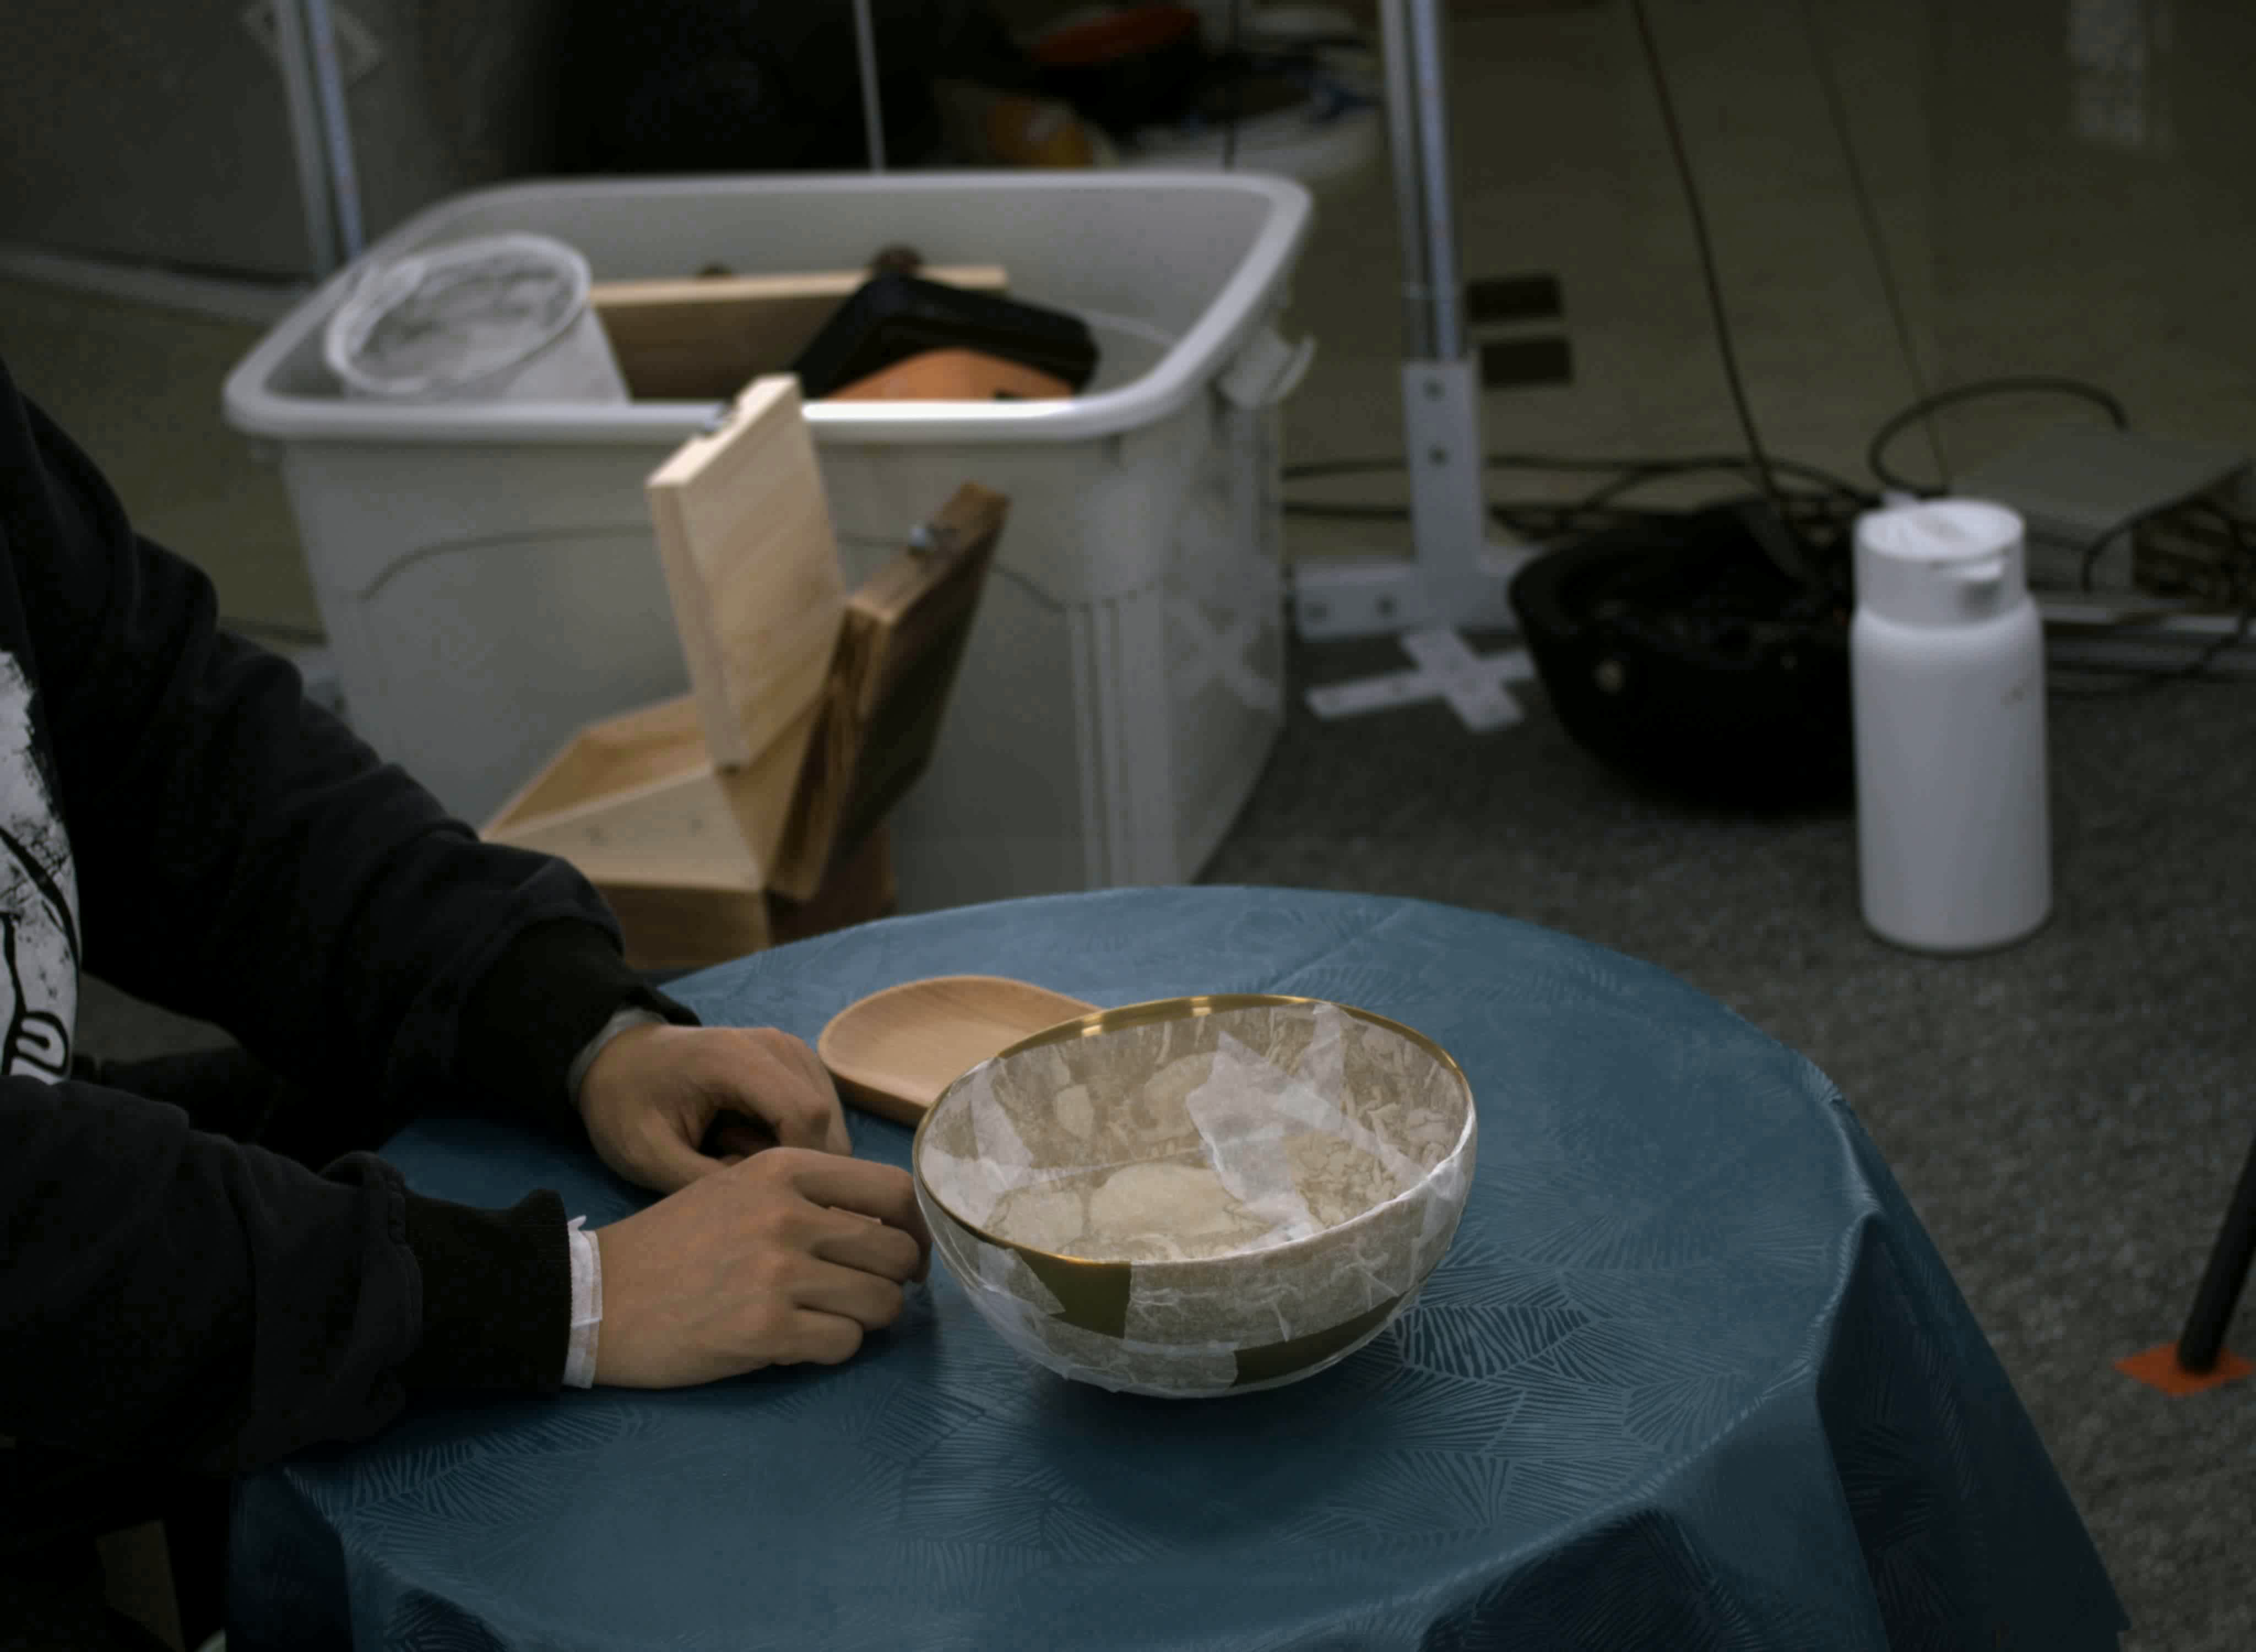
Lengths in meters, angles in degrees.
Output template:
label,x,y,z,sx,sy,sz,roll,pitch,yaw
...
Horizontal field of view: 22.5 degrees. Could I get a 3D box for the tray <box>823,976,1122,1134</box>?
label,x,y,z,sx,sy,sz,roll,pitch,yaw
tray,-0.023,0.104,2.217,0.229,0.020,0.100,18,37,38

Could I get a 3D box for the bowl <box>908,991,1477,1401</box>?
label,x,y,z,sx,sy,sz,roll,pitch,yaw
bowl,0.026,0.143,2.027,0.214,0.096,0.211,-6,26,3
